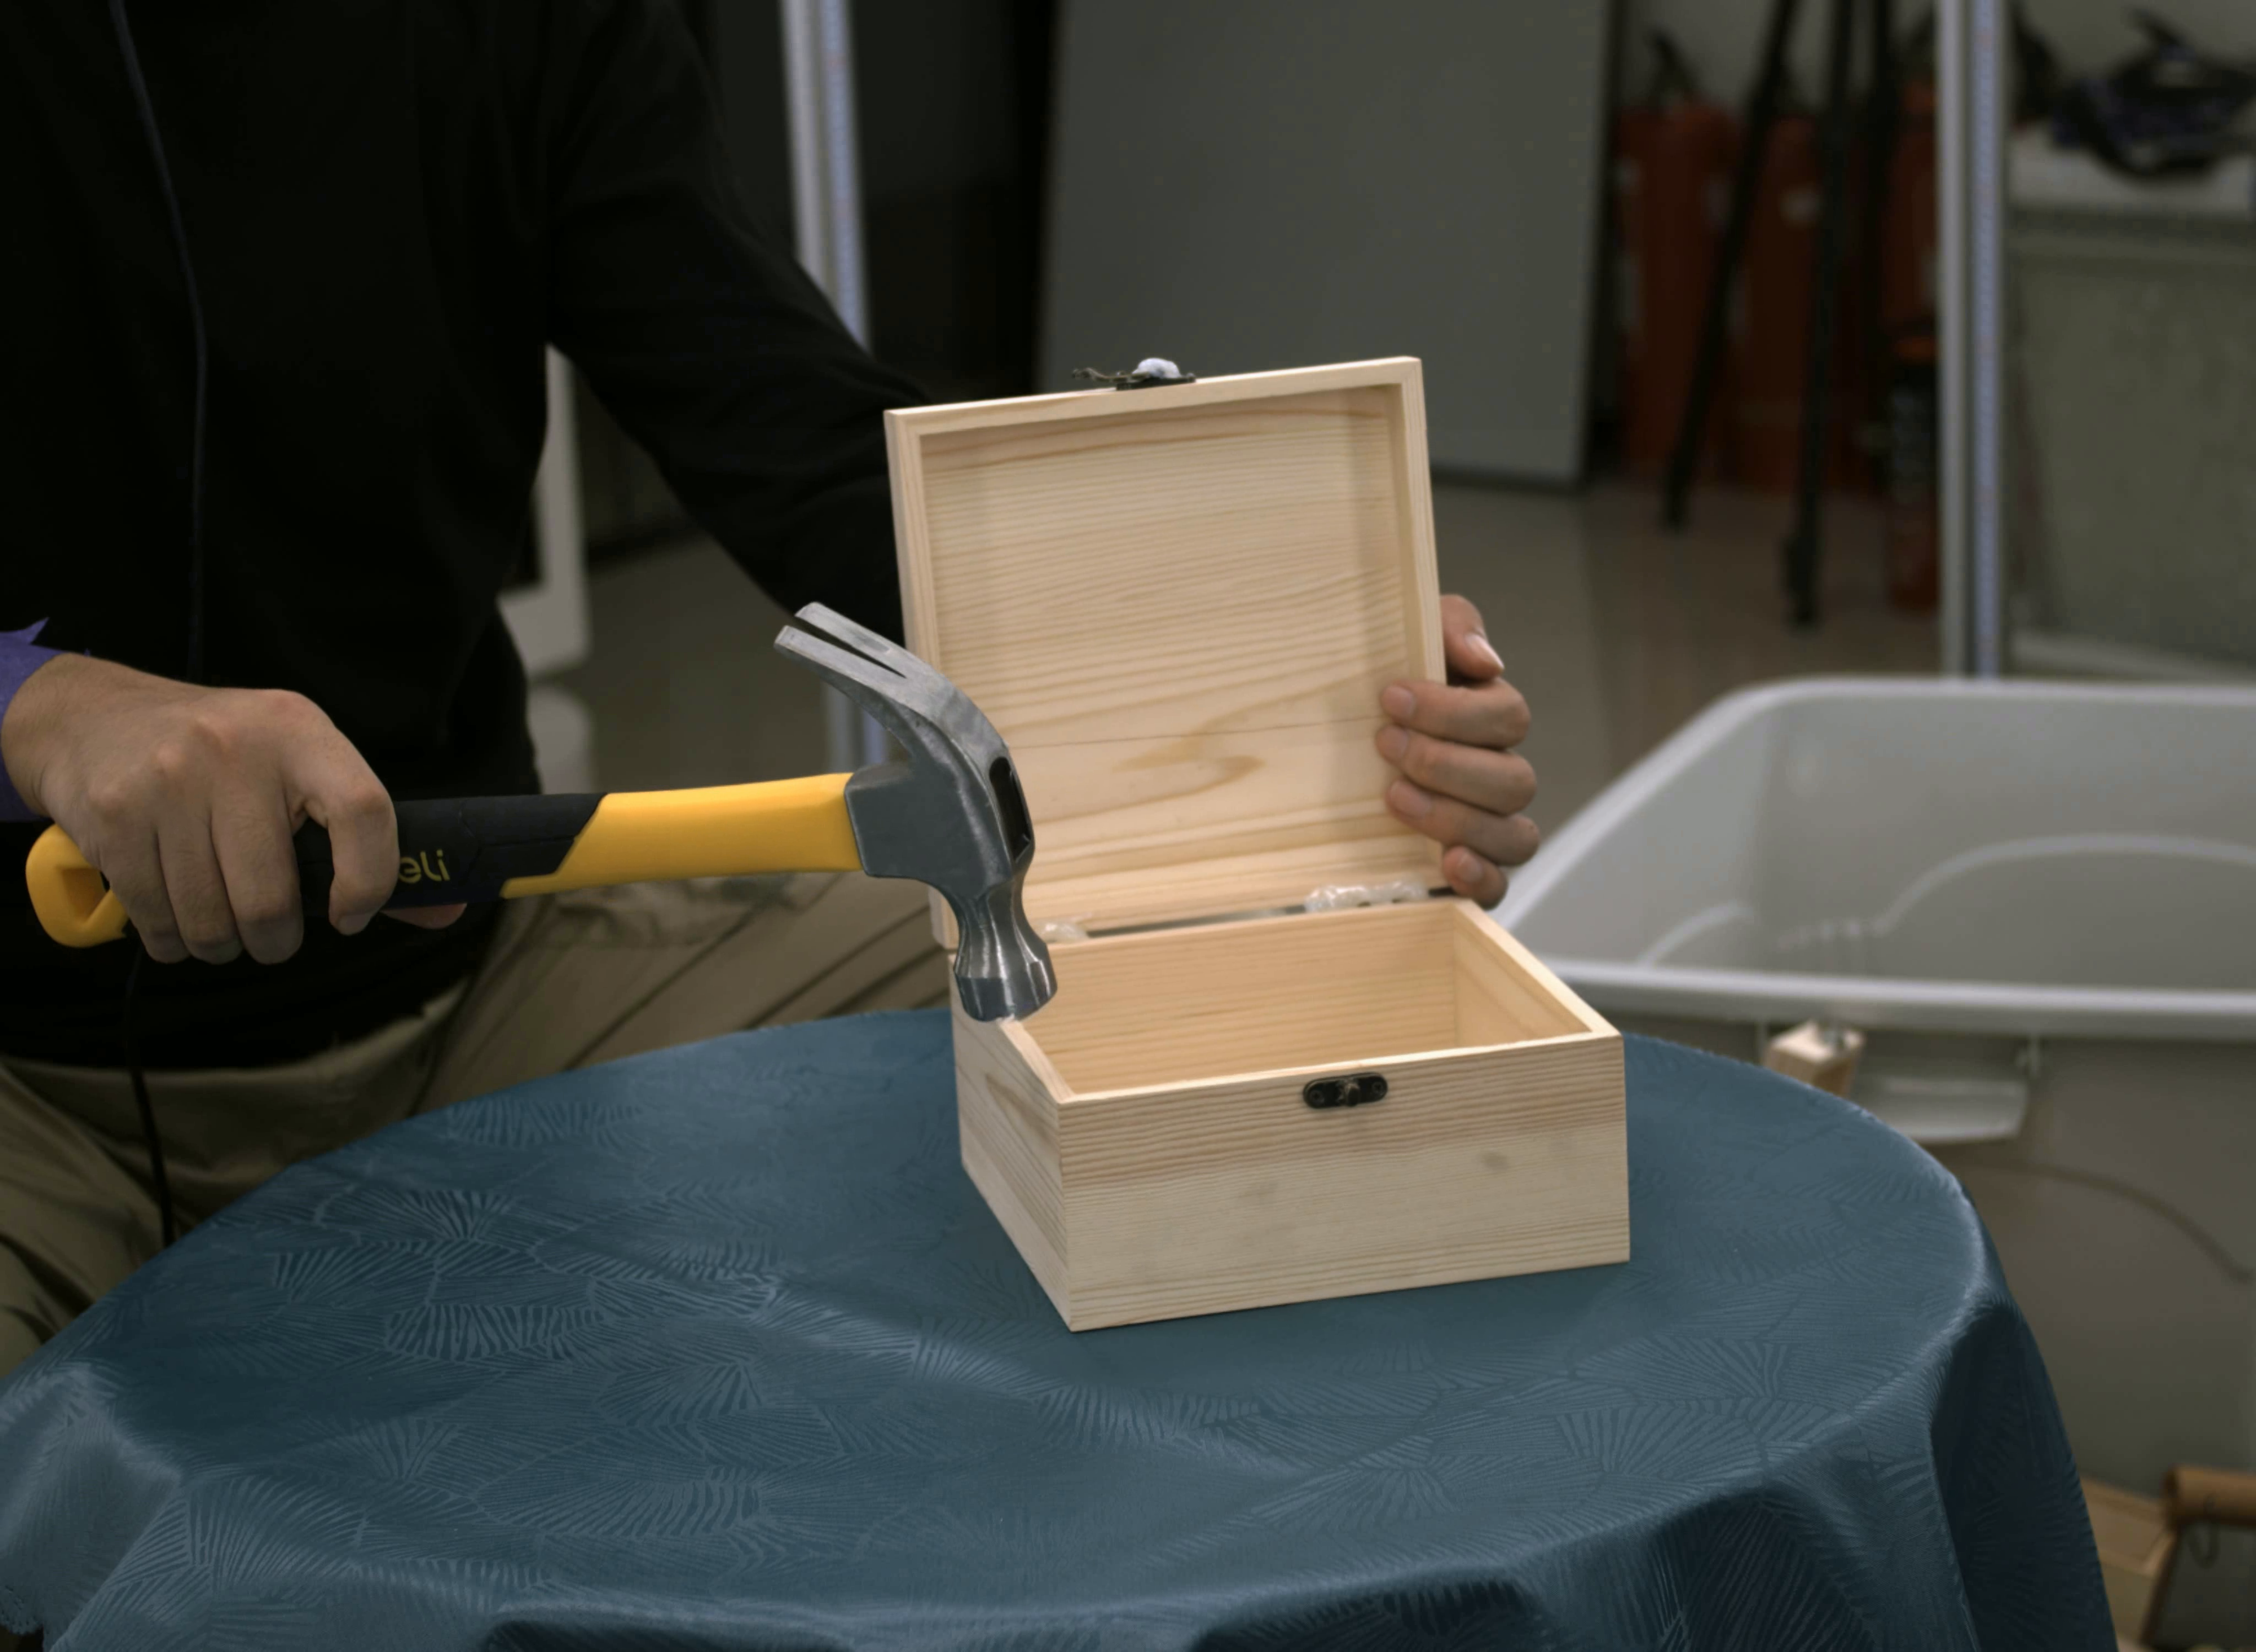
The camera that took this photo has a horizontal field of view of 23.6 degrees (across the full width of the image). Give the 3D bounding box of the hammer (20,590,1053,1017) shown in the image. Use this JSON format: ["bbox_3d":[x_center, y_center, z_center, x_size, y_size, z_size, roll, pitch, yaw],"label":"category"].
[{"bbox_3d":[-0.192,0.007,1.676,0.338,0.132,0.032,-6,20,22],"label":"hammer"}]

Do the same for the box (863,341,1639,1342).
[{"bbox_3d":[0.036,-0.004,1.744,0.178,0.256,0.267,-9,15,-10],"label":"box"}]
